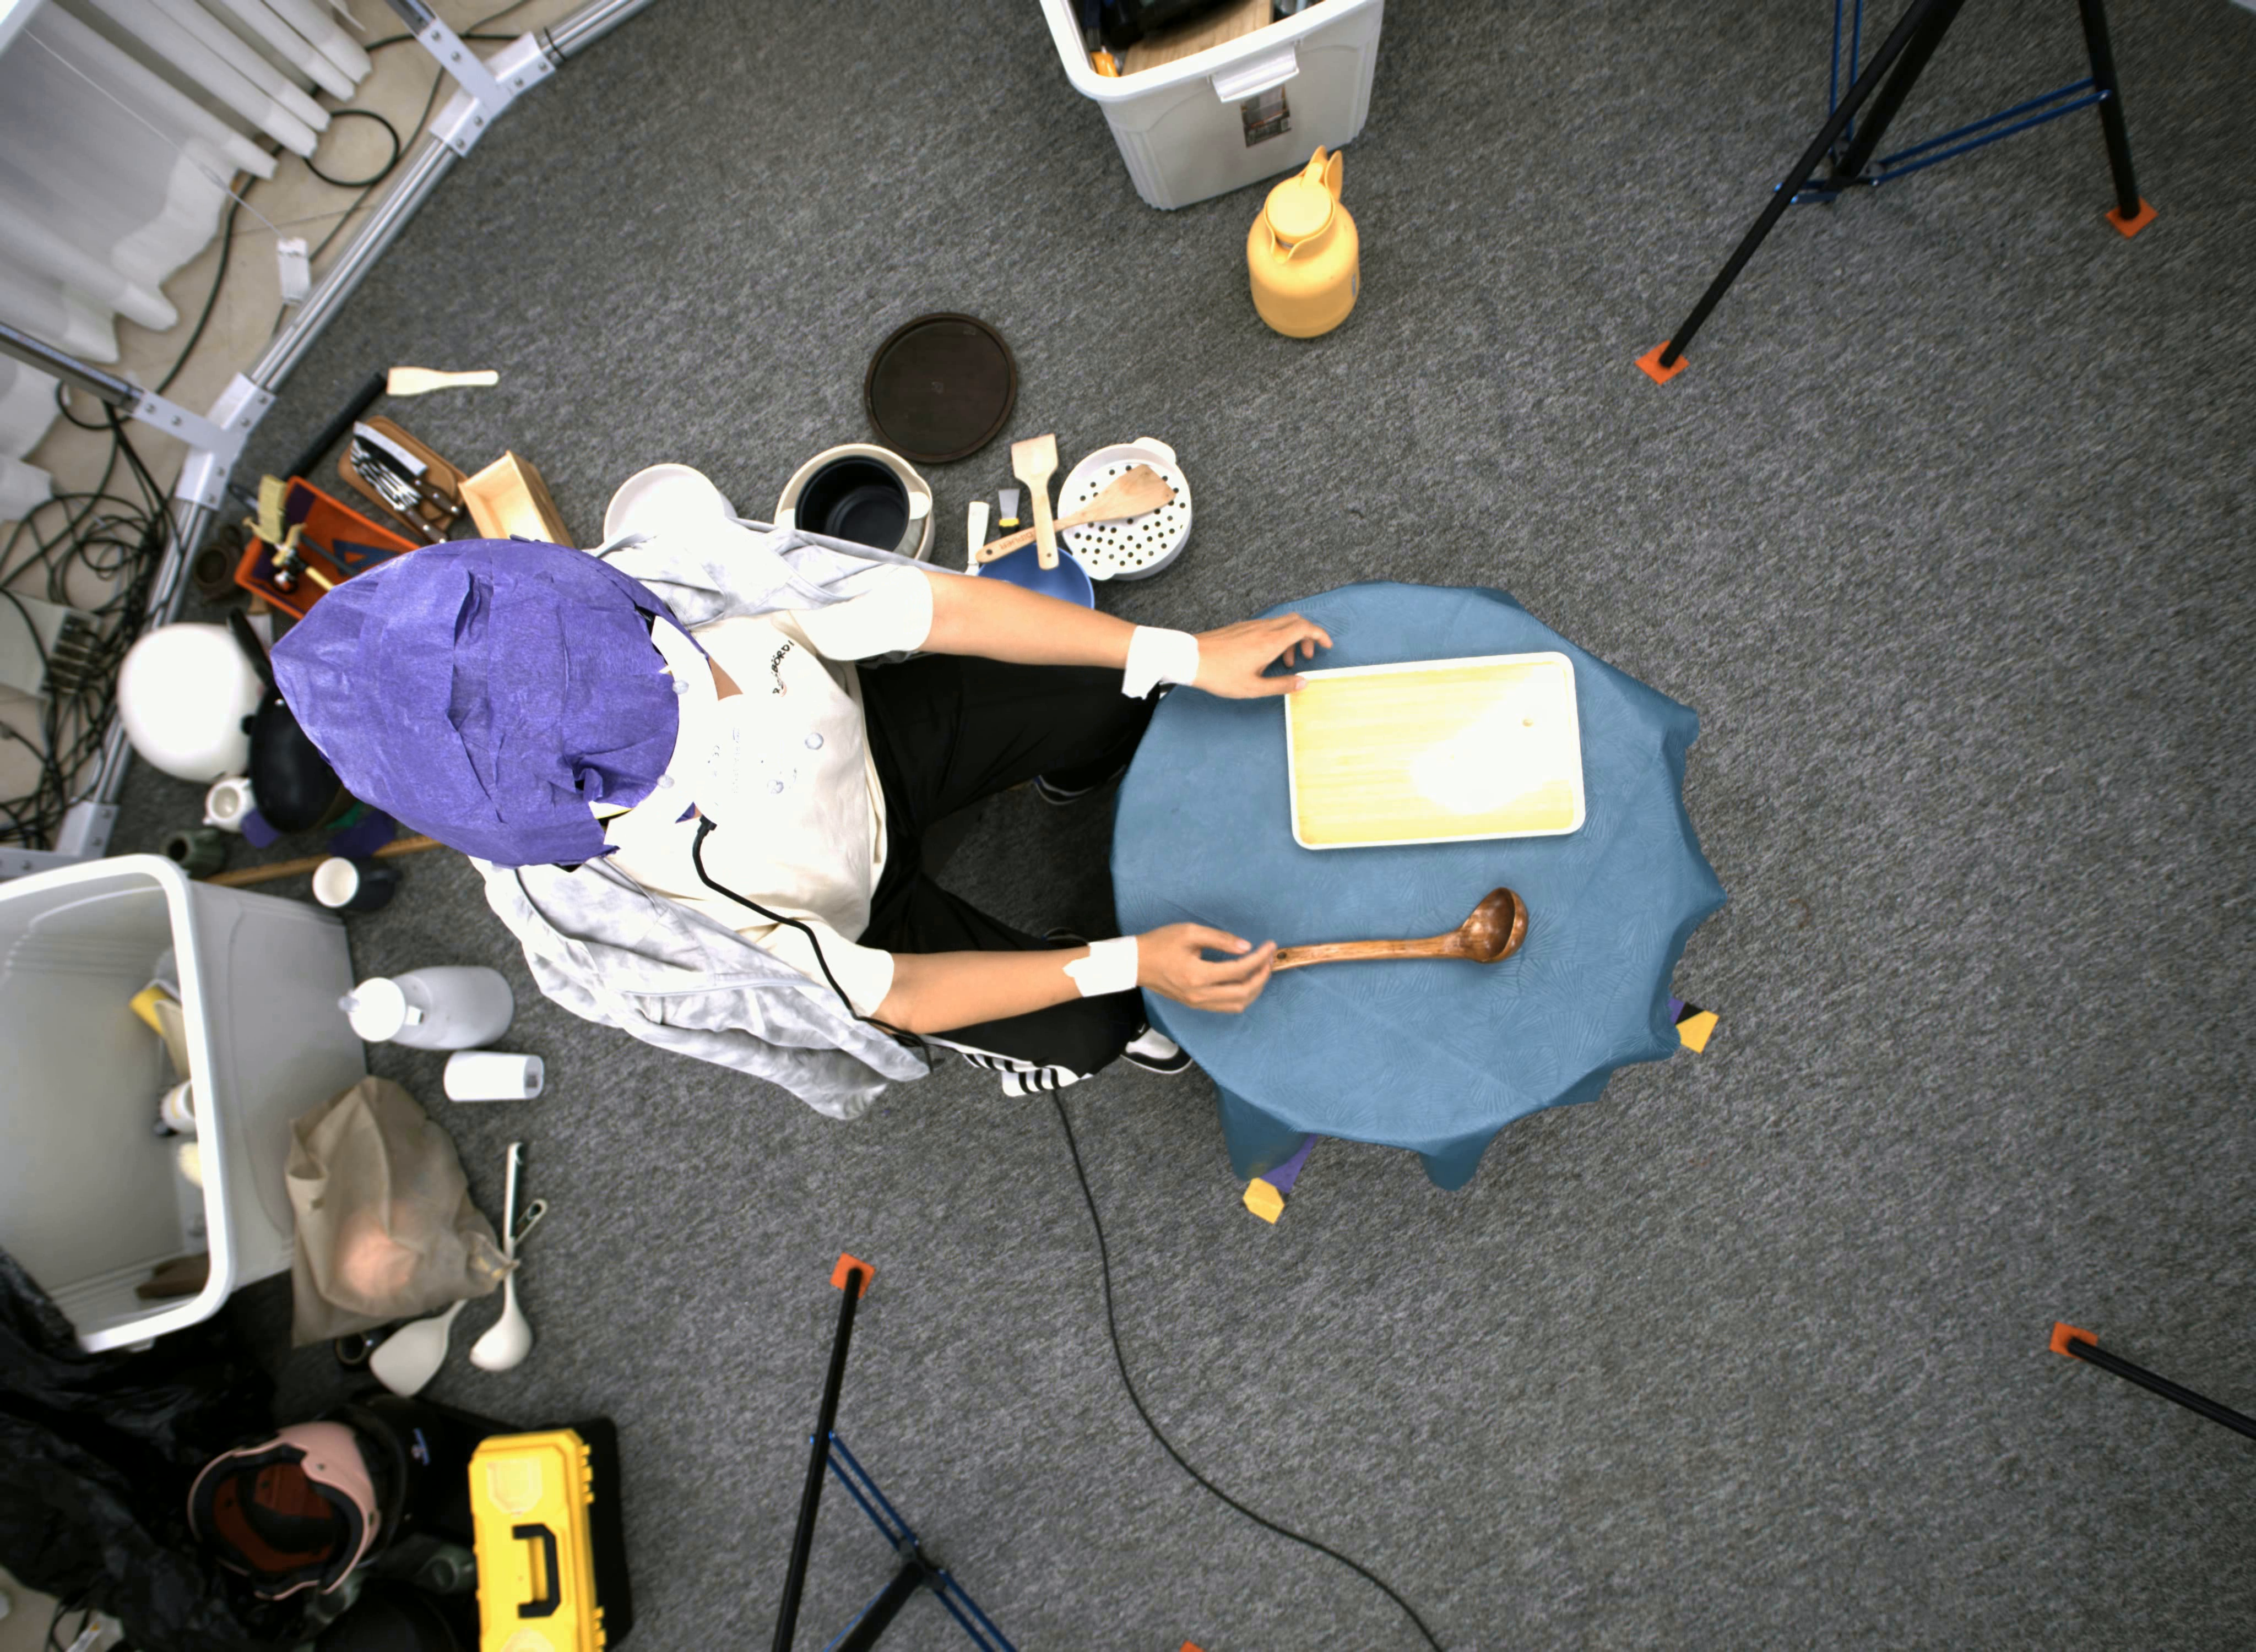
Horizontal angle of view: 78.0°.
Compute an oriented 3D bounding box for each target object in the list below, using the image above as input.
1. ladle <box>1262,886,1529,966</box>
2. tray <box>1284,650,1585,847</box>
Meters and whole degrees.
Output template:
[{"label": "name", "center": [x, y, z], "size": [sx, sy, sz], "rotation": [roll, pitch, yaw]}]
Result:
[{"label": "ladle", "center": [0.271, 0.109, 1.420], "size": [0.275, 0.078, 0.079], "rotation": [-4, 46, 11]}, {"label": "tray", "center": [0.319, -0.081, 1.443], "size": [0.301, 0.027, 0.190], "rotation": [-3, 86, 11]}]
